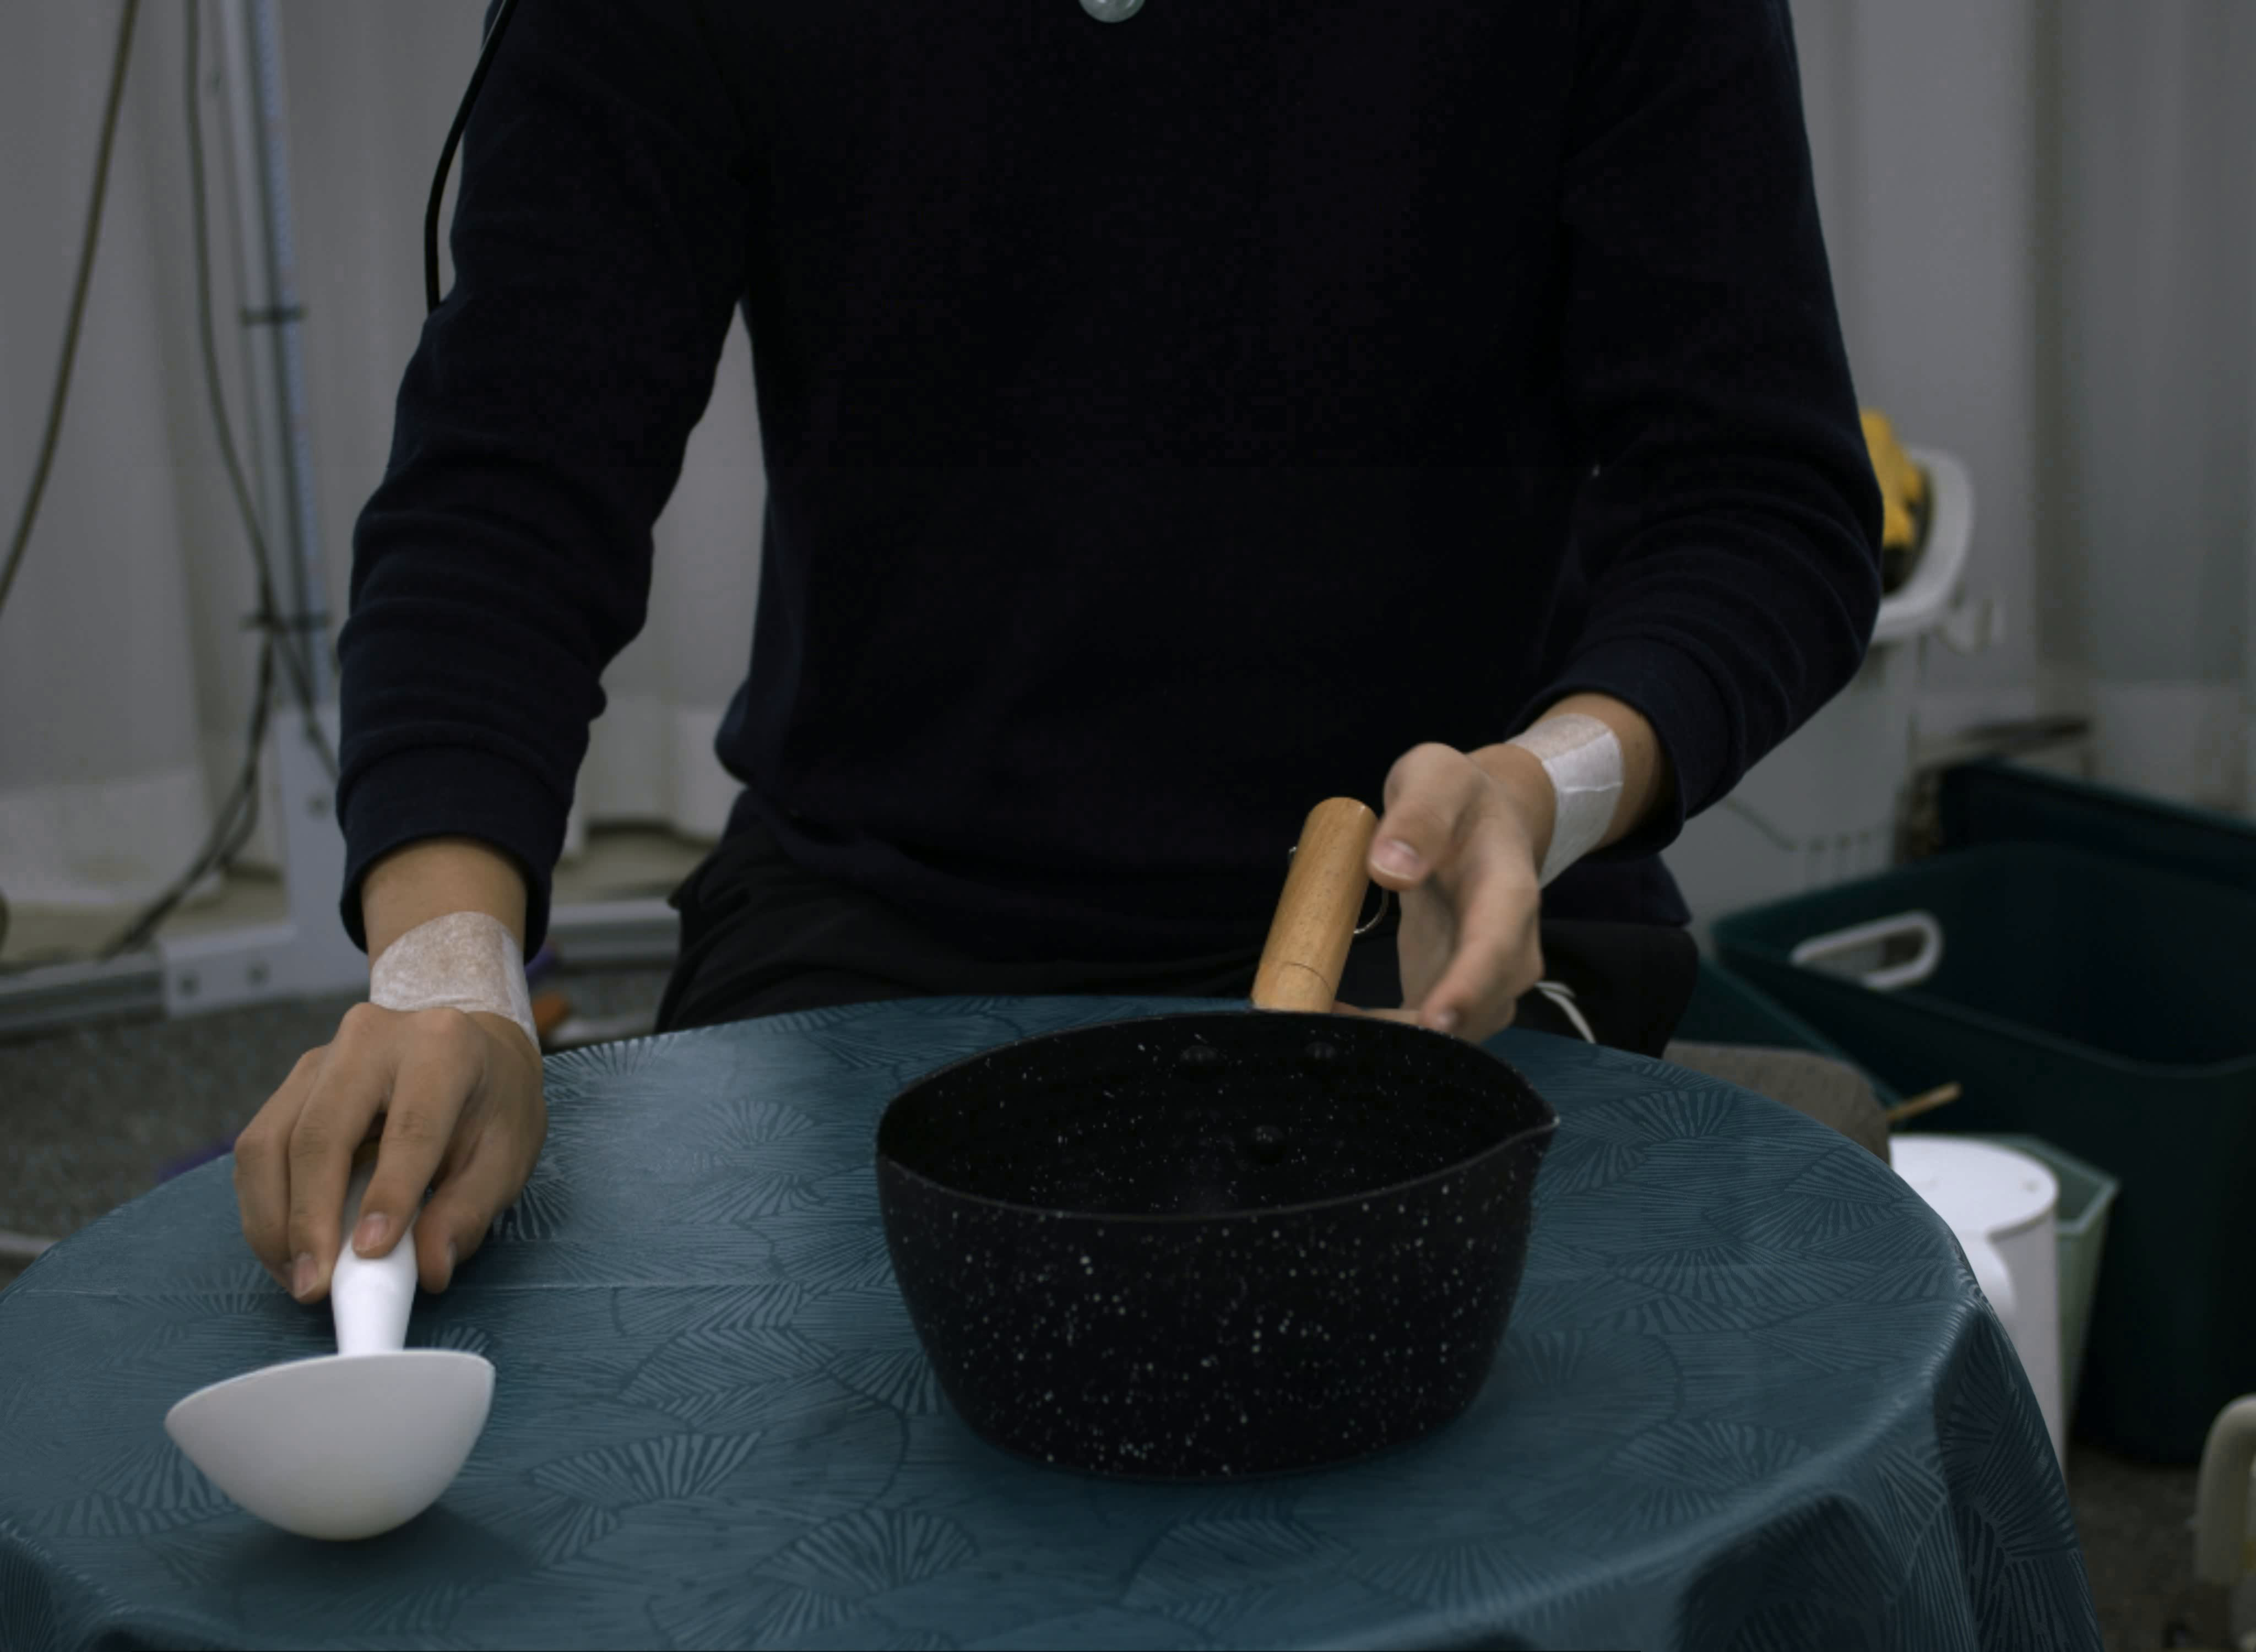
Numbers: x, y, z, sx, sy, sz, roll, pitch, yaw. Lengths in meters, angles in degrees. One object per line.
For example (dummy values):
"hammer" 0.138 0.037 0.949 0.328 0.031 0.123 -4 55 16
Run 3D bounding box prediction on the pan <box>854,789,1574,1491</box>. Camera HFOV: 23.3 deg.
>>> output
"pan" 0.037 0.087 1.606 0.207 0.108 0.345 -1 16 11

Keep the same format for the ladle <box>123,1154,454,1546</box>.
"ladle" -0.228 0.135 1.566 0.090 0.069 0.295 -16 15 0
